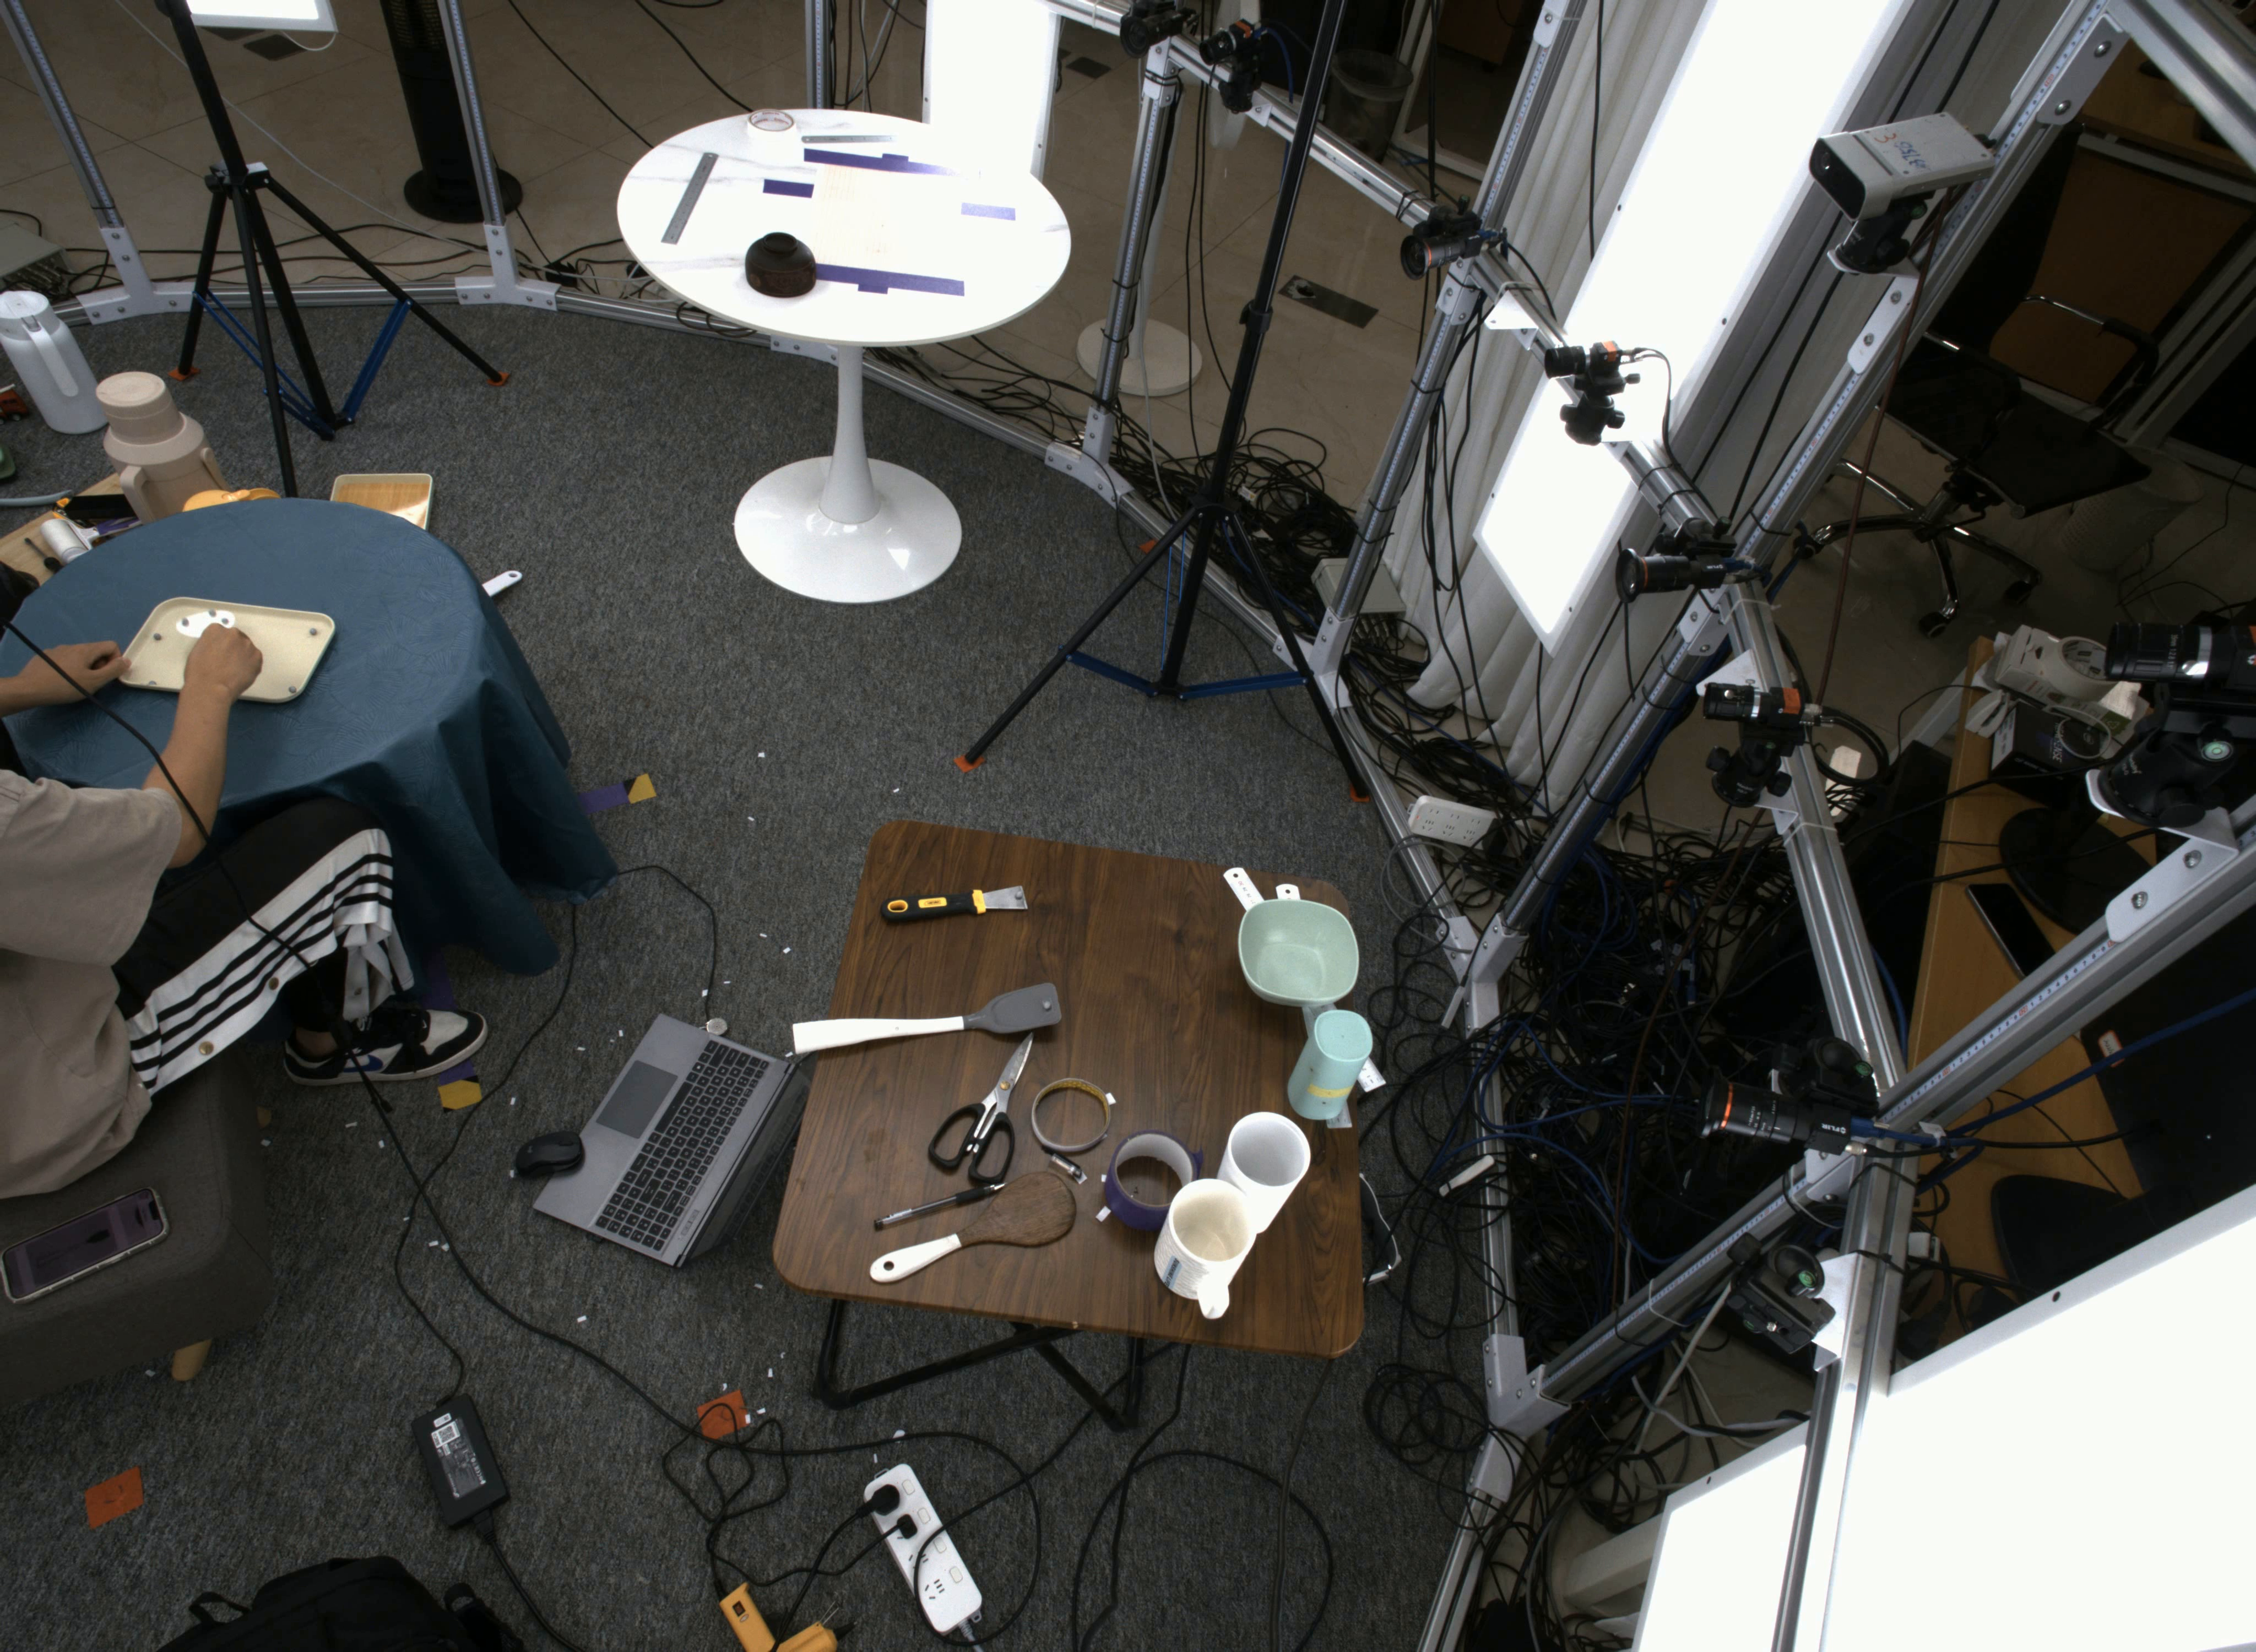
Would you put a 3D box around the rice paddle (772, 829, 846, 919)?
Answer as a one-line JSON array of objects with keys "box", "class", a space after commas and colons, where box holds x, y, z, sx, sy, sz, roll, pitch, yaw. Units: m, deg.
[{"box": [-0.395, 0.049, 1.618, 0.069, 0.030, 0.198, -8, 33, -26], "class": "rice paddle"}]

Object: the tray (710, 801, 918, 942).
[{"box": [-0.405, 0.058, 1.685, 0.237, 0.018, 0.169, 17, 51, 1], "class": "tray"}]
